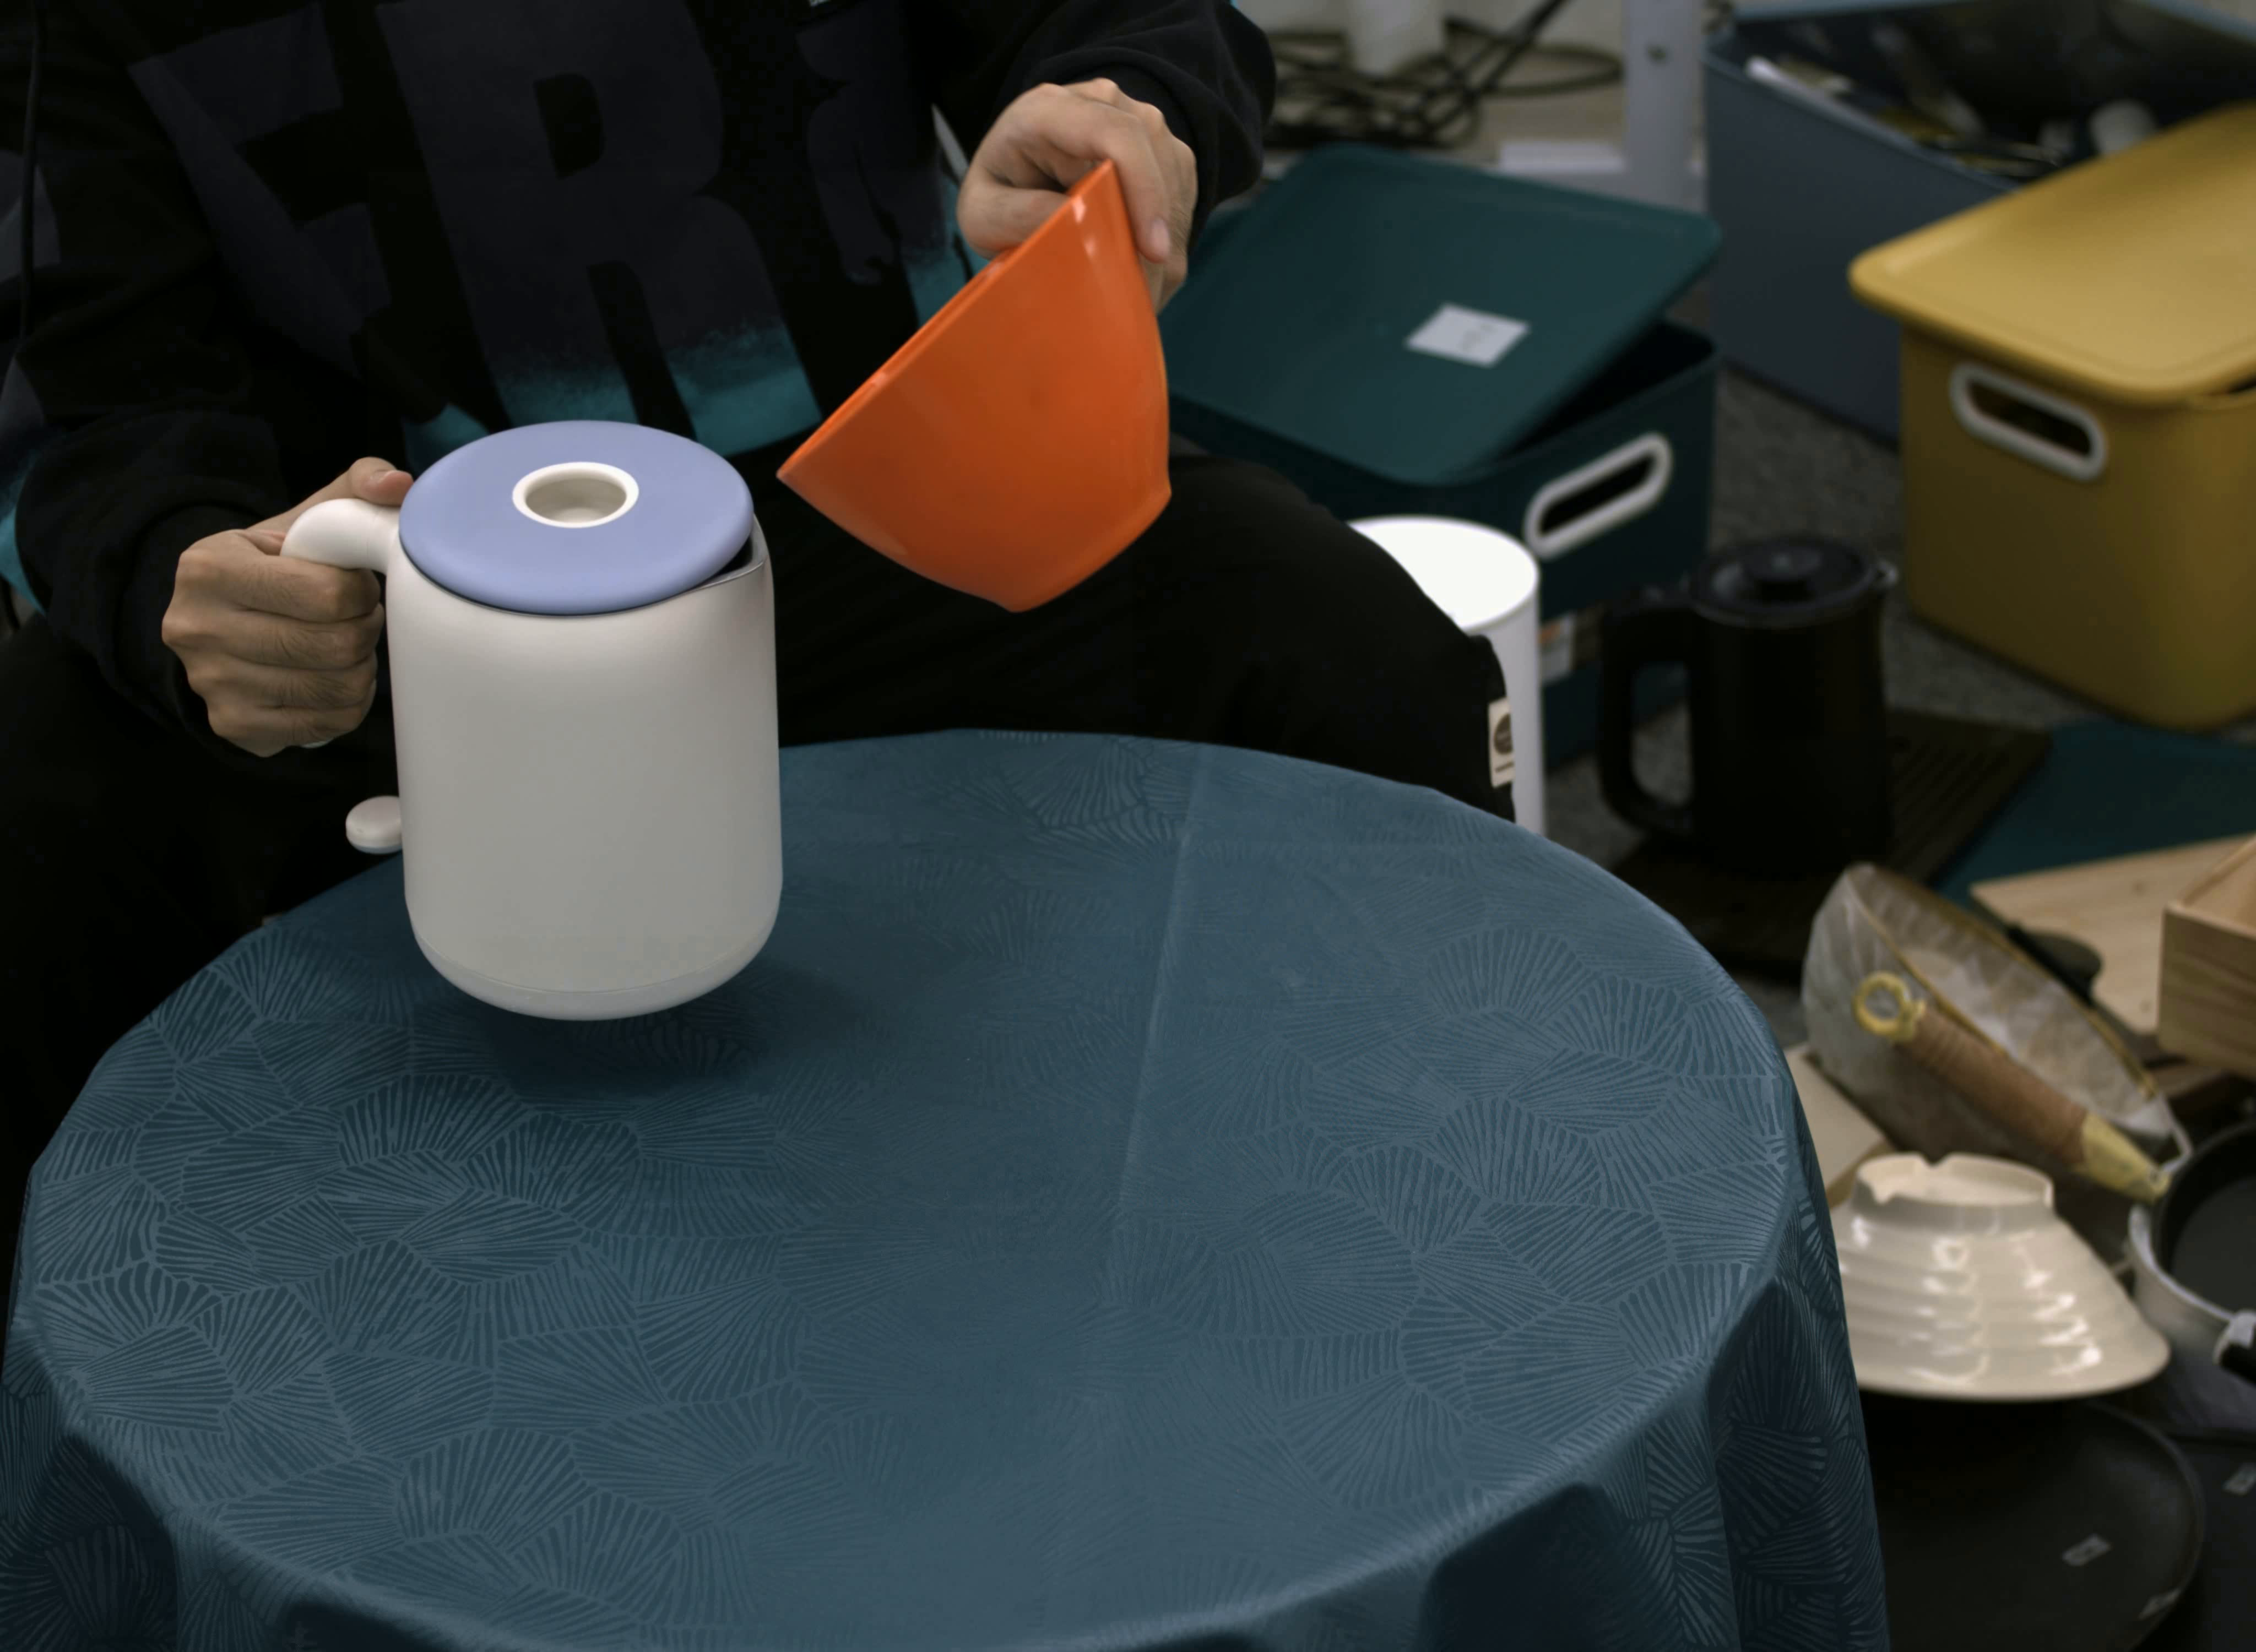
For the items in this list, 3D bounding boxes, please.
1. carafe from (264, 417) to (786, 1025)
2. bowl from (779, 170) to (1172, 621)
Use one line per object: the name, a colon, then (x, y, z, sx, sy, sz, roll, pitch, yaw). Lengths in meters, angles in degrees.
carafe: (-0.207, -0.040, 1.922, 0.190, 0.180, 0.134, 9, 32, 17)
bowl: (-0.034, -0.130, 1.820, 0.147, 0.104, 0.149, -33, 14, 10)
